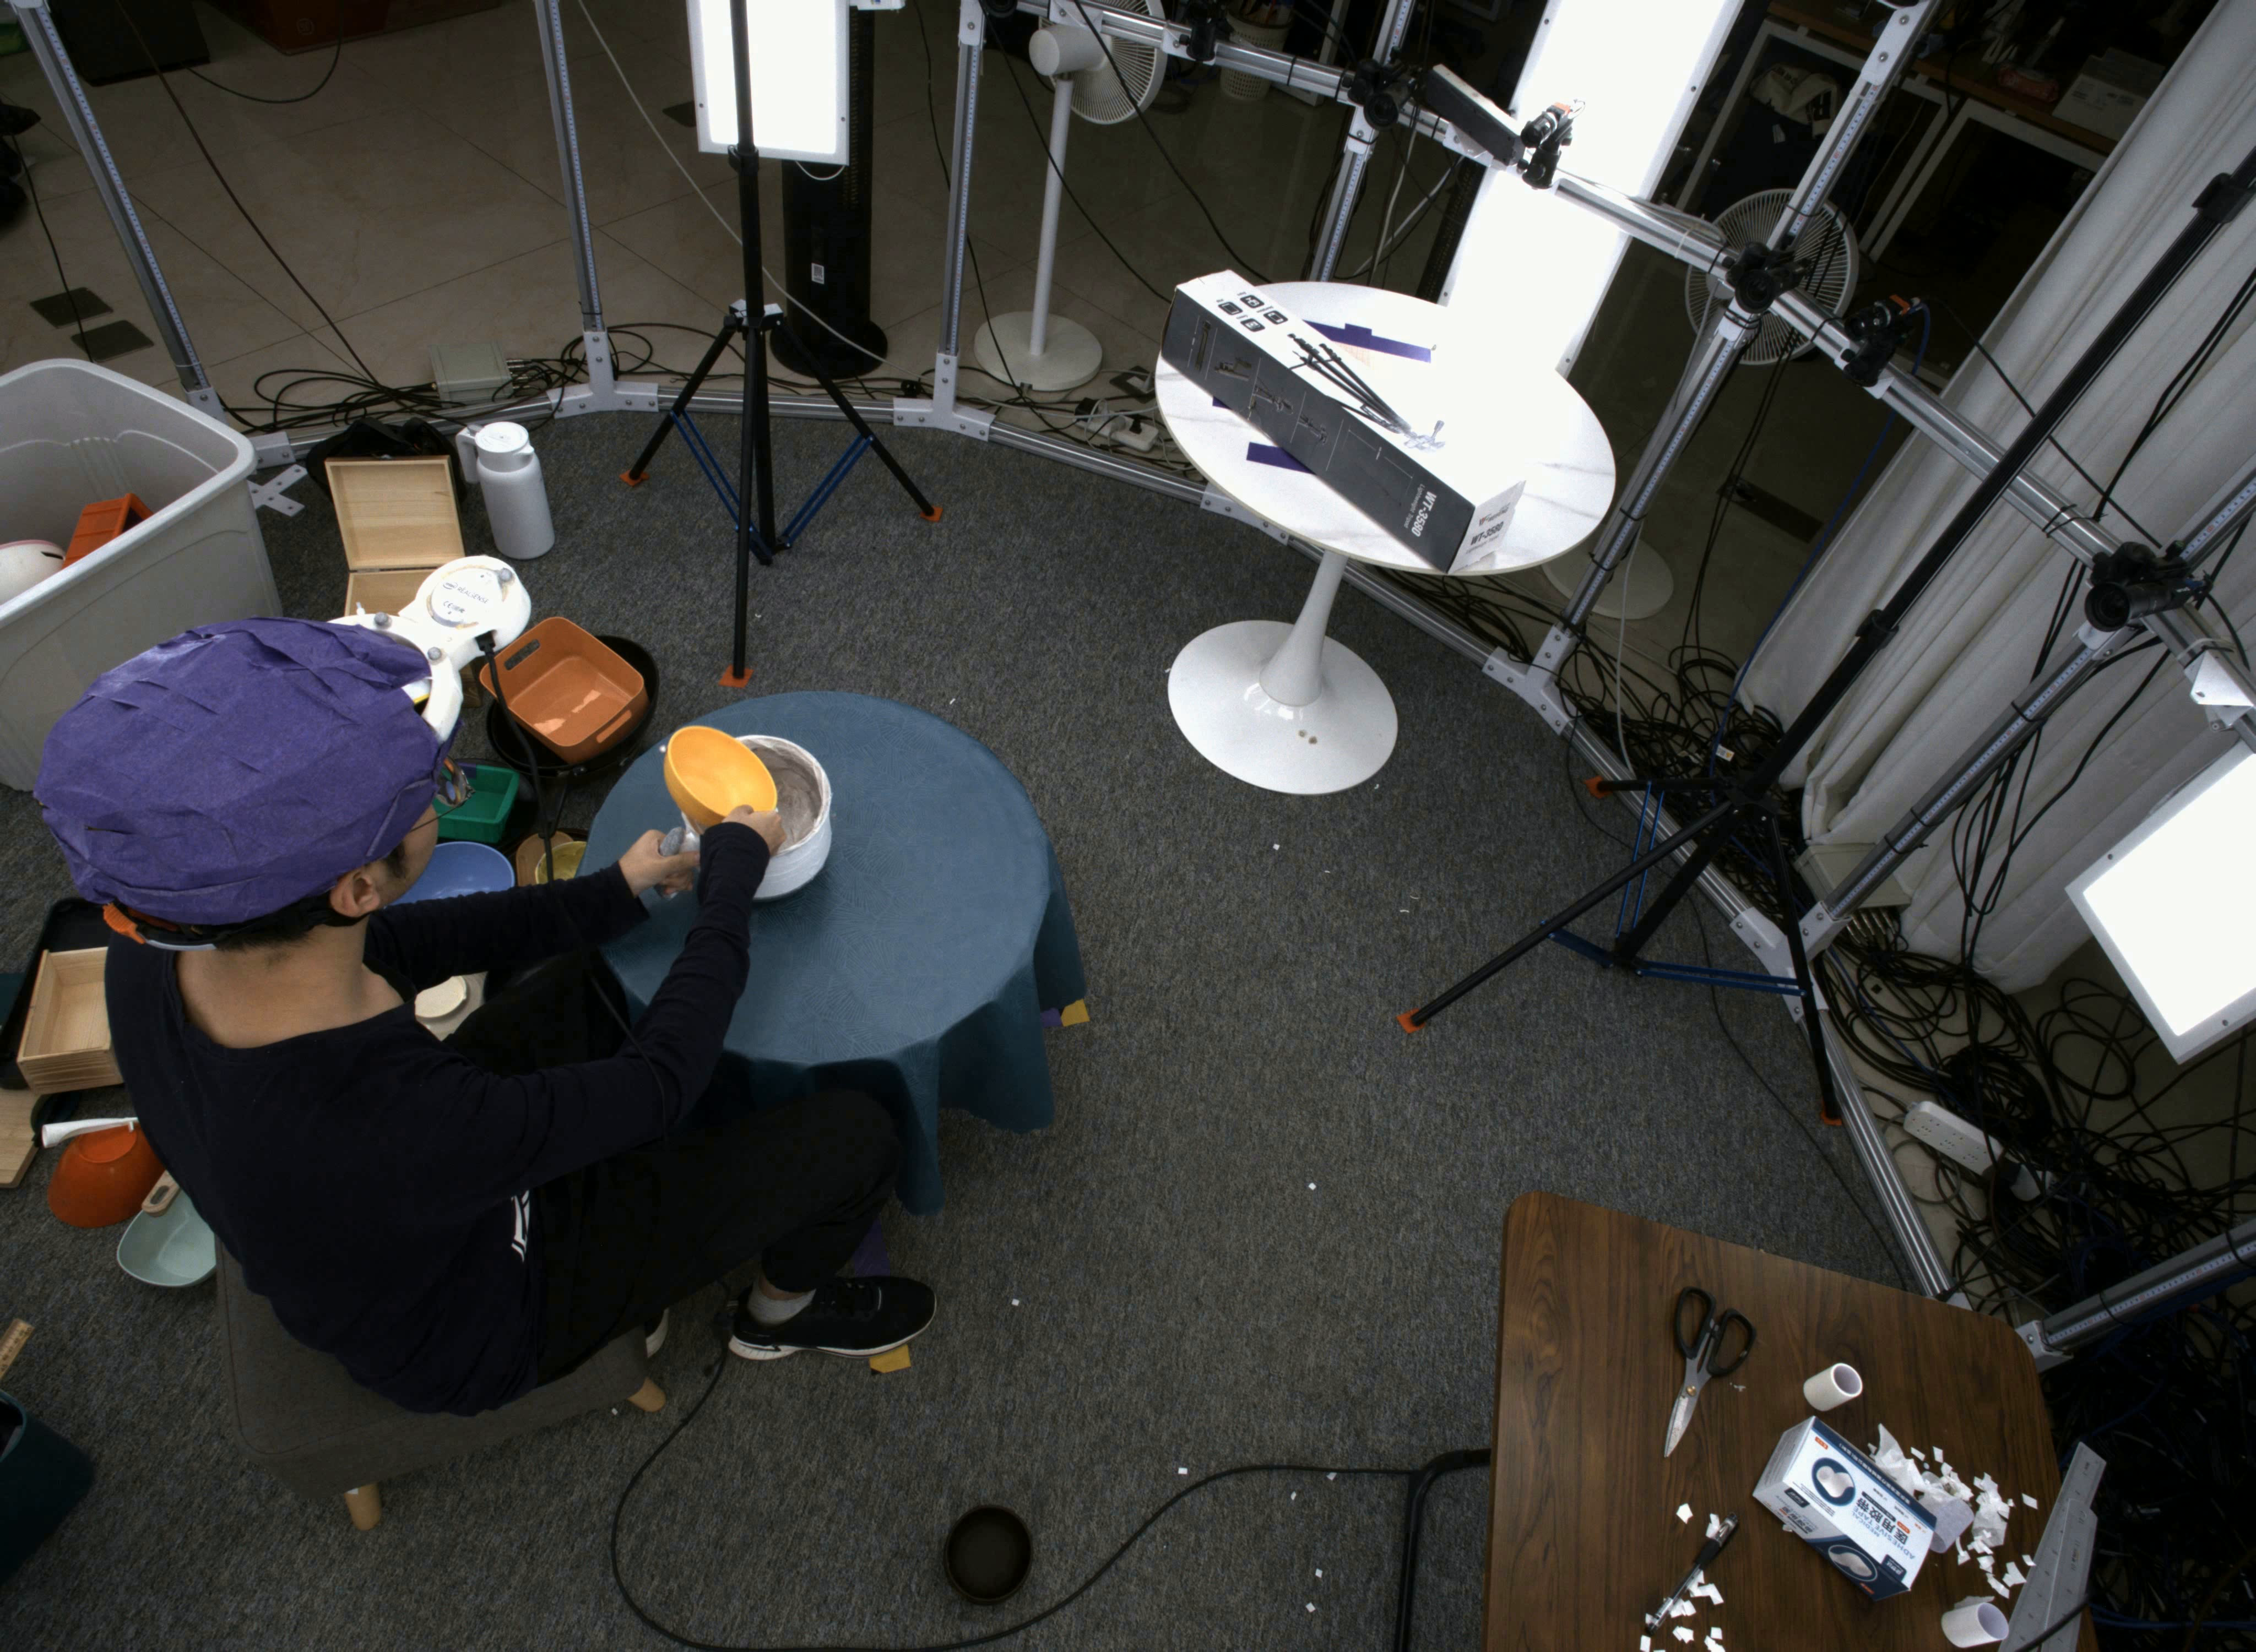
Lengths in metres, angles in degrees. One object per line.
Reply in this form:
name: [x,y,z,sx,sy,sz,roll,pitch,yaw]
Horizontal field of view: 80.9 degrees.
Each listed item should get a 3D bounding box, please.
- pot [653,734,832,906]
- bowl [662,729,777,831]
pot: [-0.483,0.008,1.604,0.234,0.139,0.176,-32,72,-26]
bowl: [-0.494,-0.044,1.525,0.148,0.060,0.142,36,27,-19]
